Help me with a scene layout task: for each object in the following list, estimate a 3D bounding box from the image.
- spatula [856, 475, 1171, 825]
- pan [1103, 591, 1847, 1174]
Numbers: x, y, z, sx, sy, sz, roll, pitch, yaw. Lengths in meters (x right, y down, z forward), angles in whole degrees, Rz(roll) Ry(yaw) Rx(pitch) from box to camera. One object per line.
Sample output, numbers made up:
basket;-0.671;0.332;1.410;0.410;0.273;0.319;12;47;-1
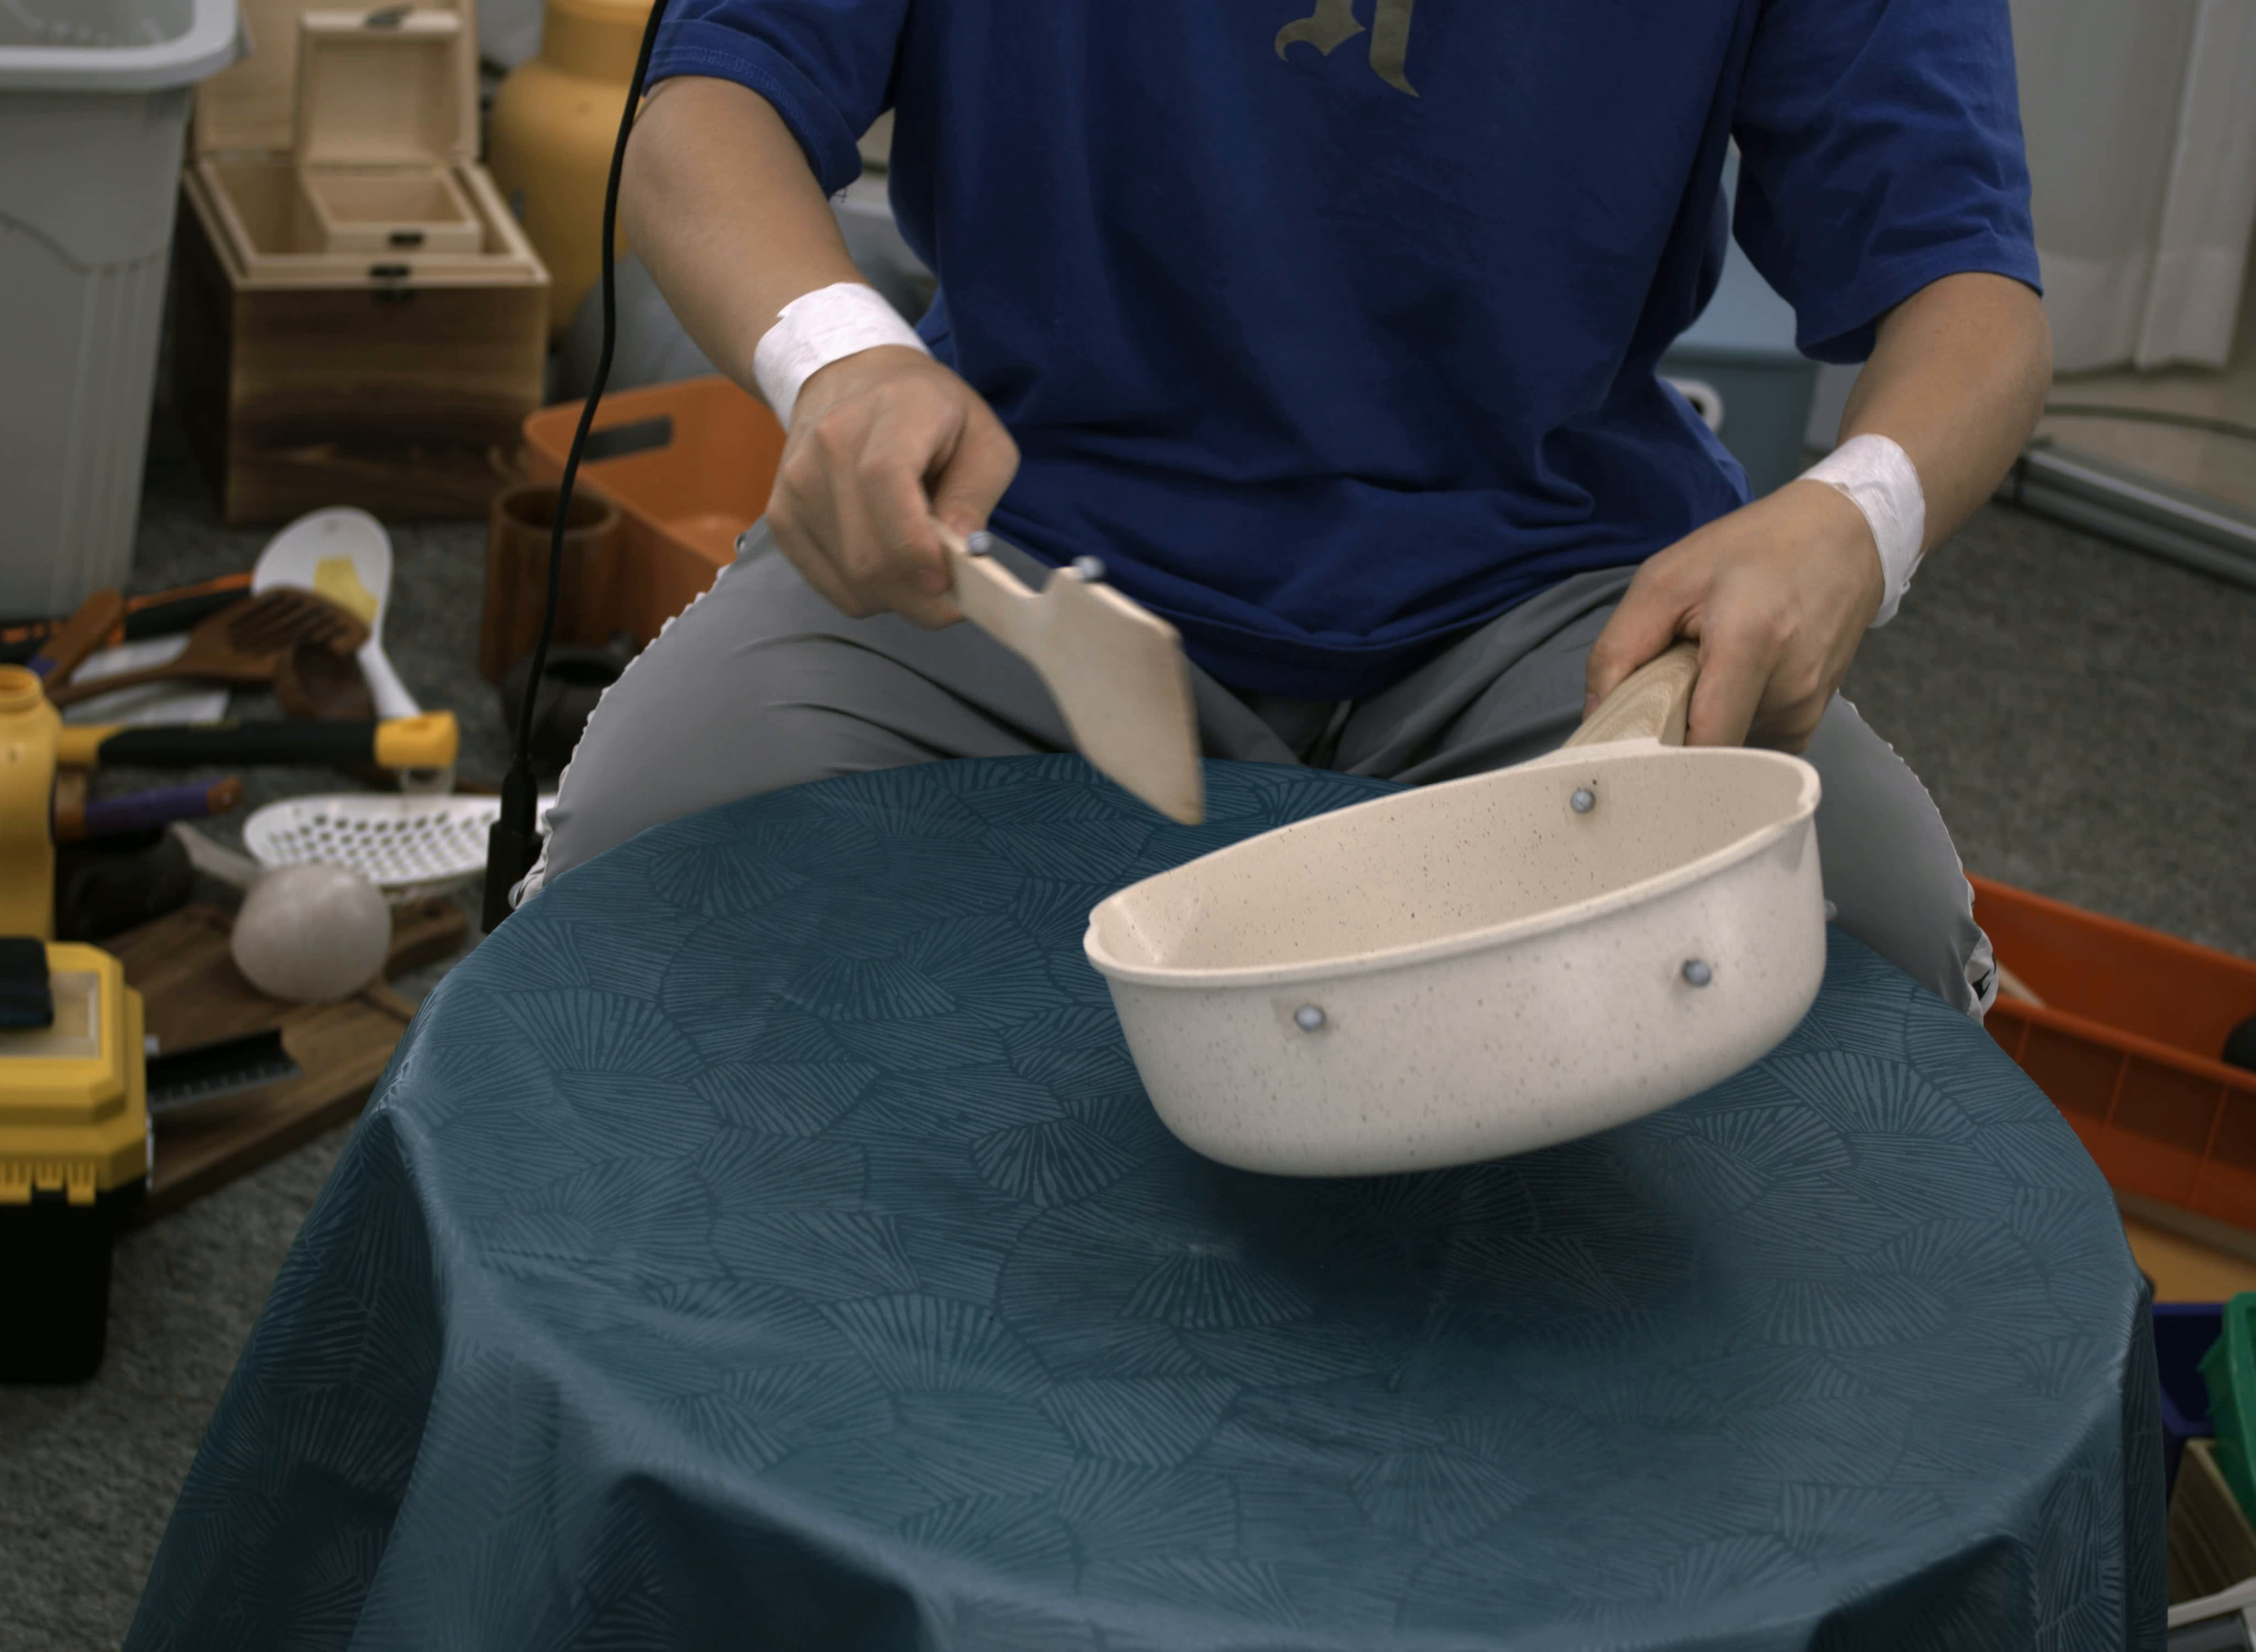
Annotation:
spatula;-0.046;-0.075;1.825;0.010;0.072;0.295;-17;23;-16
pan;0.159;0.016;1.856;0.264;0.102;0.434;-10;11;28
